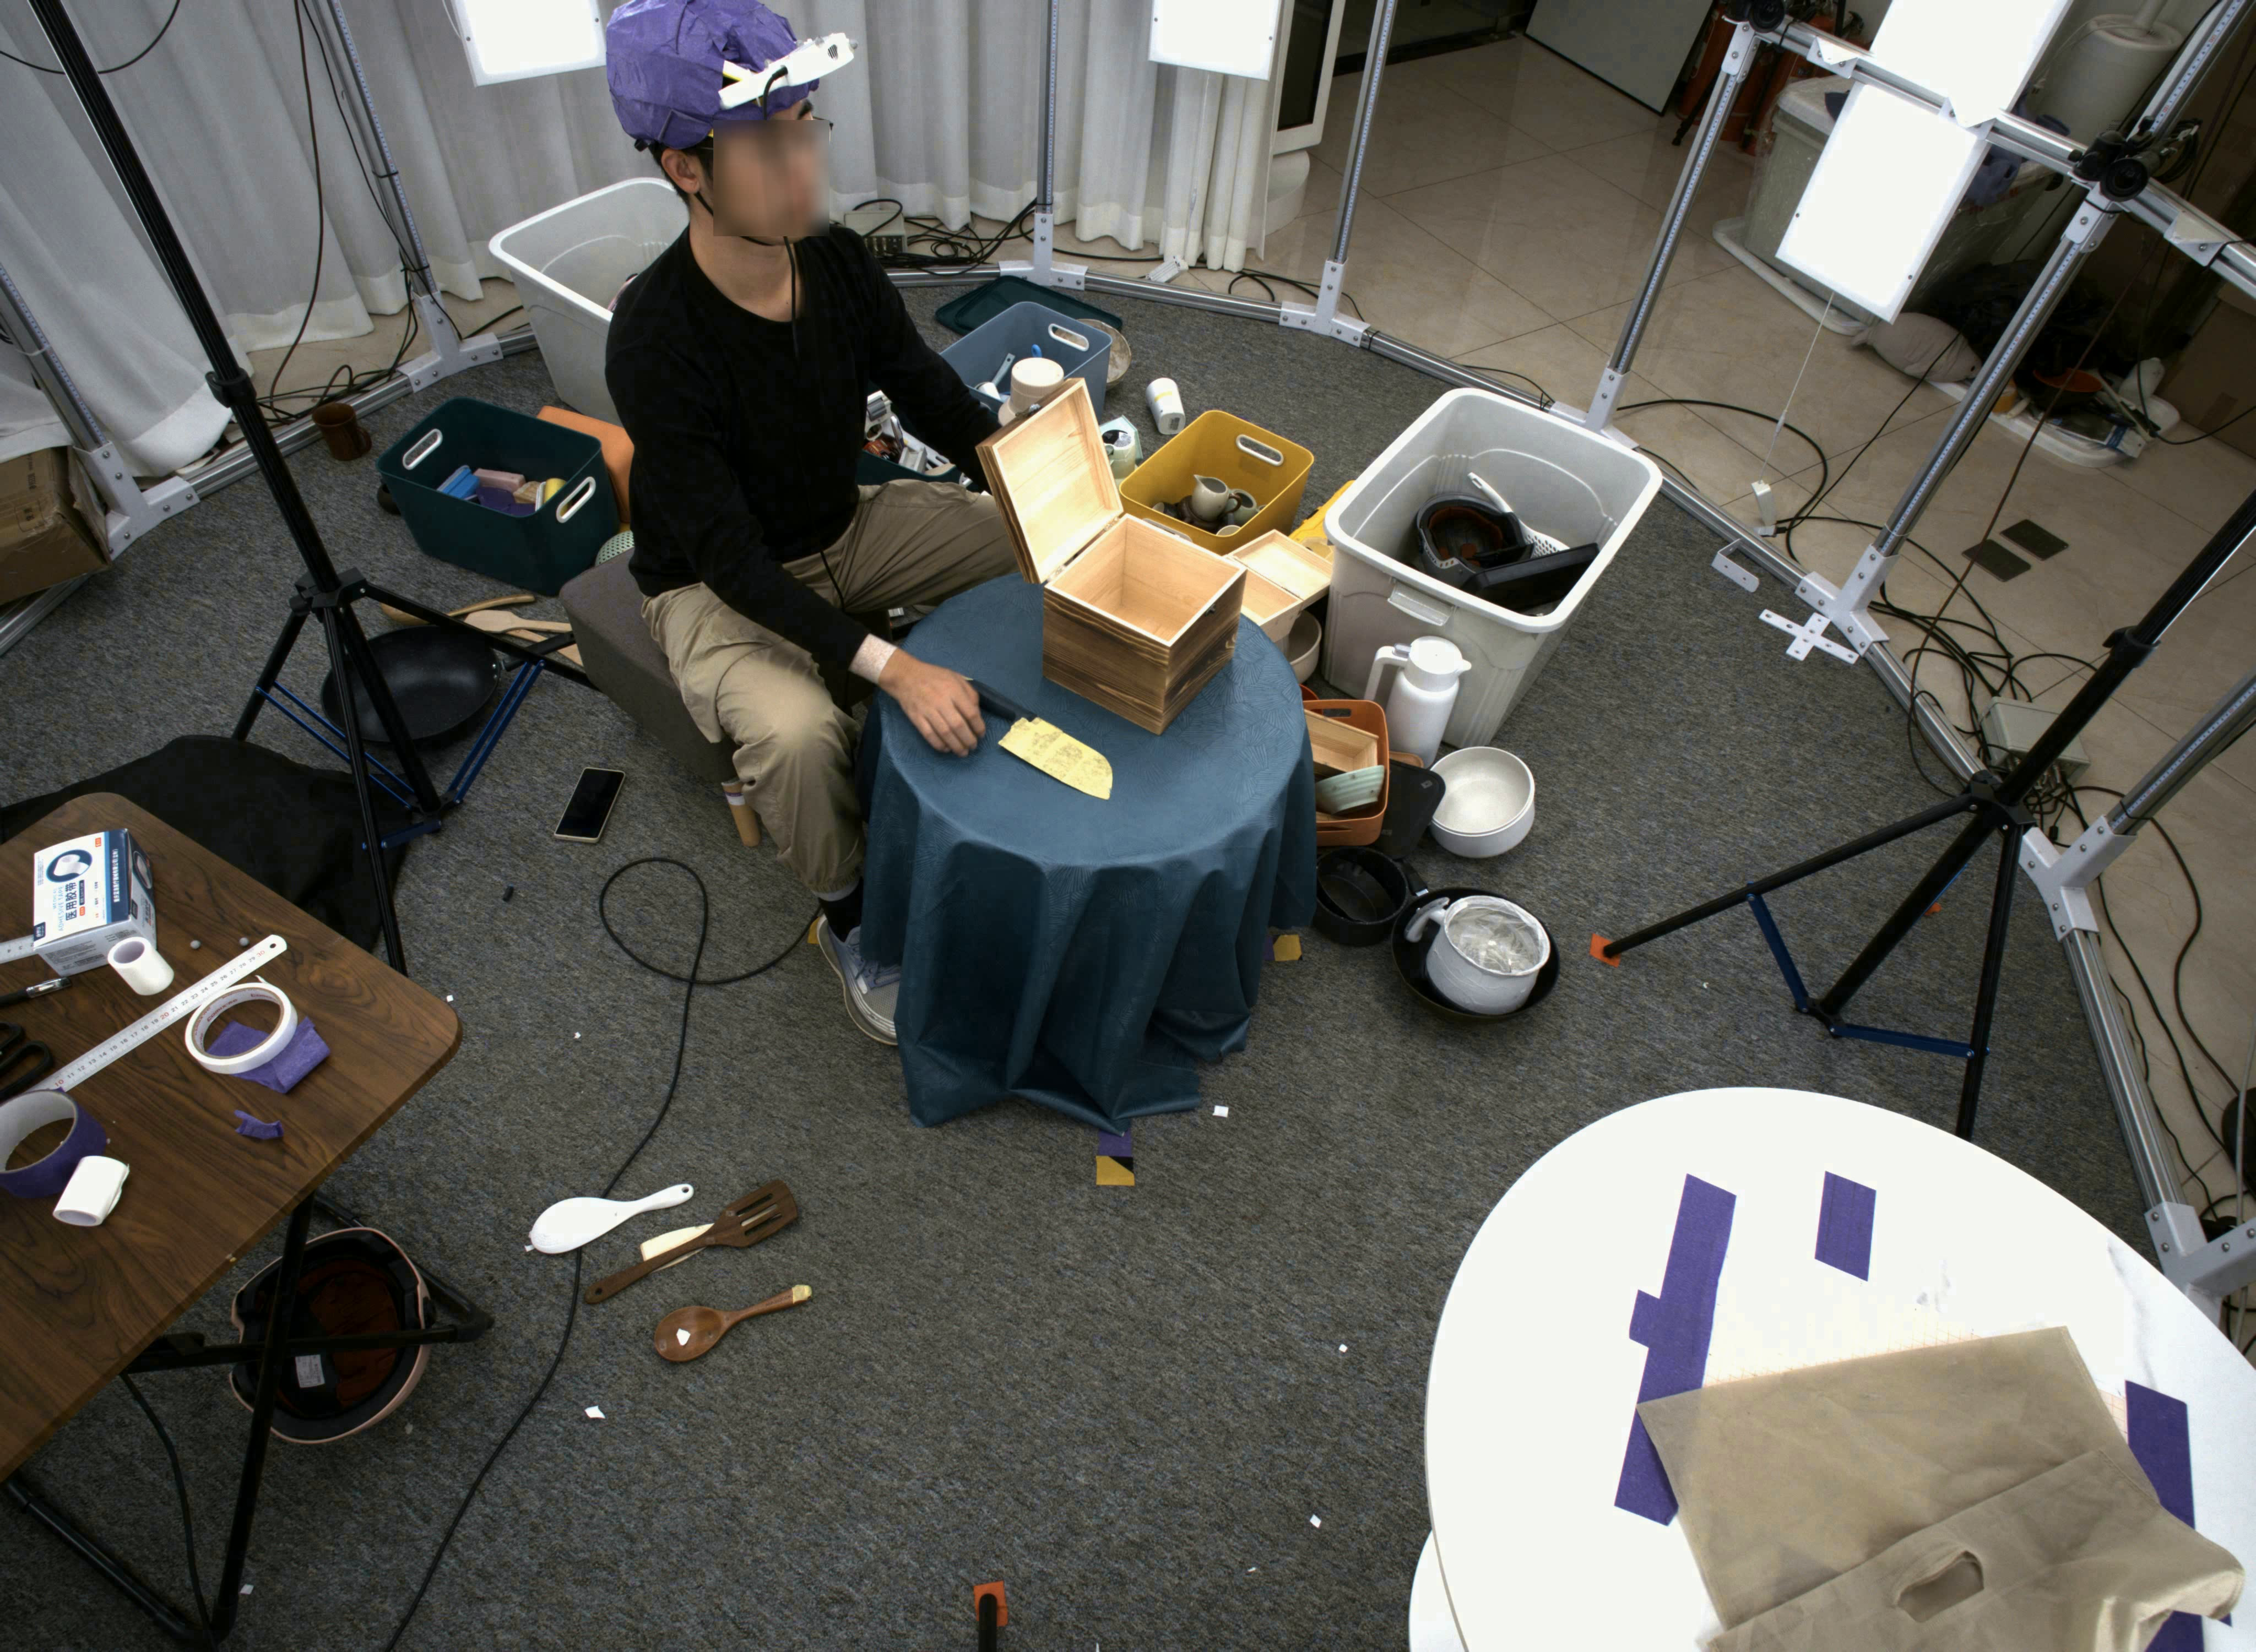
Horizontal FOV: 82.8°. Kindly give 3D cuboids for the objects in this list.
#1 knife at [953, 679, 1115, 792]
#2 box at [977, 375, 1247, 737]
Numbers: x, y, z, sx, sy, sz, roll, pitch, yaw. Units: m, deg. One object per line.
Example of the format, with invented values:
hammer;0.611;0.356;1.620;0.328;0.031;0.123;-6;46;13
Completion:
knife;-0.135;-0.124;1.759;0.293;0.026;0.082;32;53;21
box;-0.018;-0.368;1.756;0.325;0.366;0.212;28;54;20
